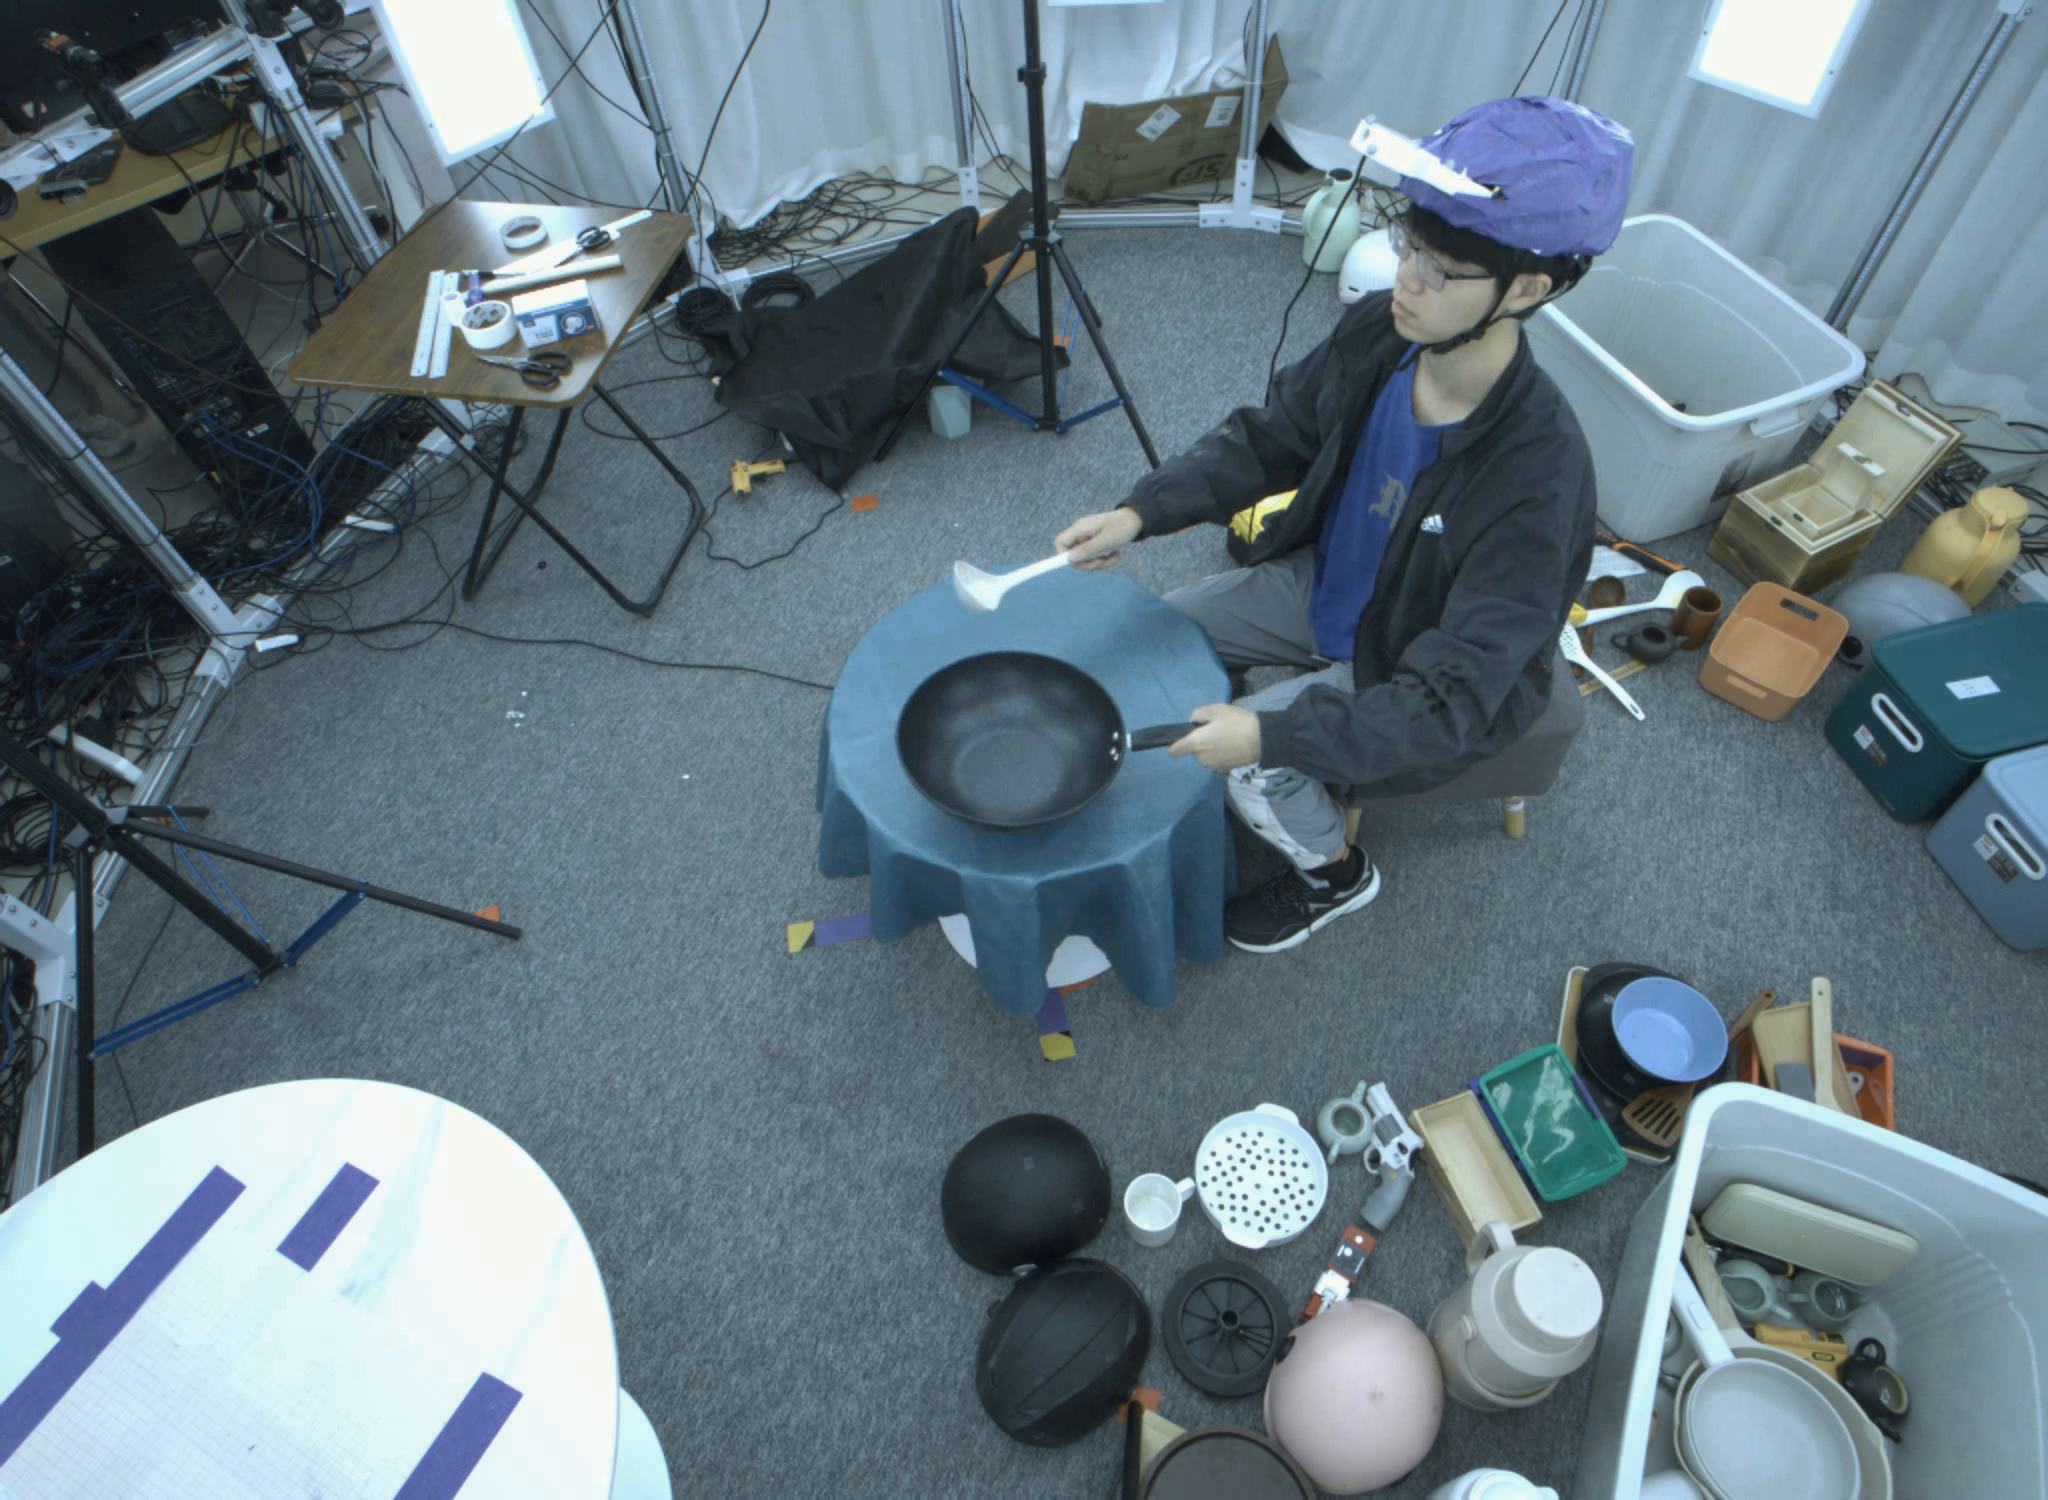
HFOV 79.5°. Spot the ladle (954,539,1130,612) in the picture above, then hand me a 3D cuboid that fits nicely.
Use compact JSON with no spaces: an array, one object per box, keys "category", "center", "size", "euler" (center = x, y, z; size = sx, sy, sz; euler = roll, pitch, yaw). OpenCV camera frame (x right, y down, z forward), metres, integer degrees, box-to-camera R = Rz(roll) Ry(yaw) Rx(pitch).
[{"category":"ladle","center":[0.030,-0.270,1.742],"size":[0.277,0.070,0.088],"euler":[-22,63,-15]}]

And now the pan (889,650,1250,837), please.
[{"category":"pan","center":[0.059,-0.001,1.659],"size":[0.477,0.112,0.307],"euler":[1,52,-1]}]
